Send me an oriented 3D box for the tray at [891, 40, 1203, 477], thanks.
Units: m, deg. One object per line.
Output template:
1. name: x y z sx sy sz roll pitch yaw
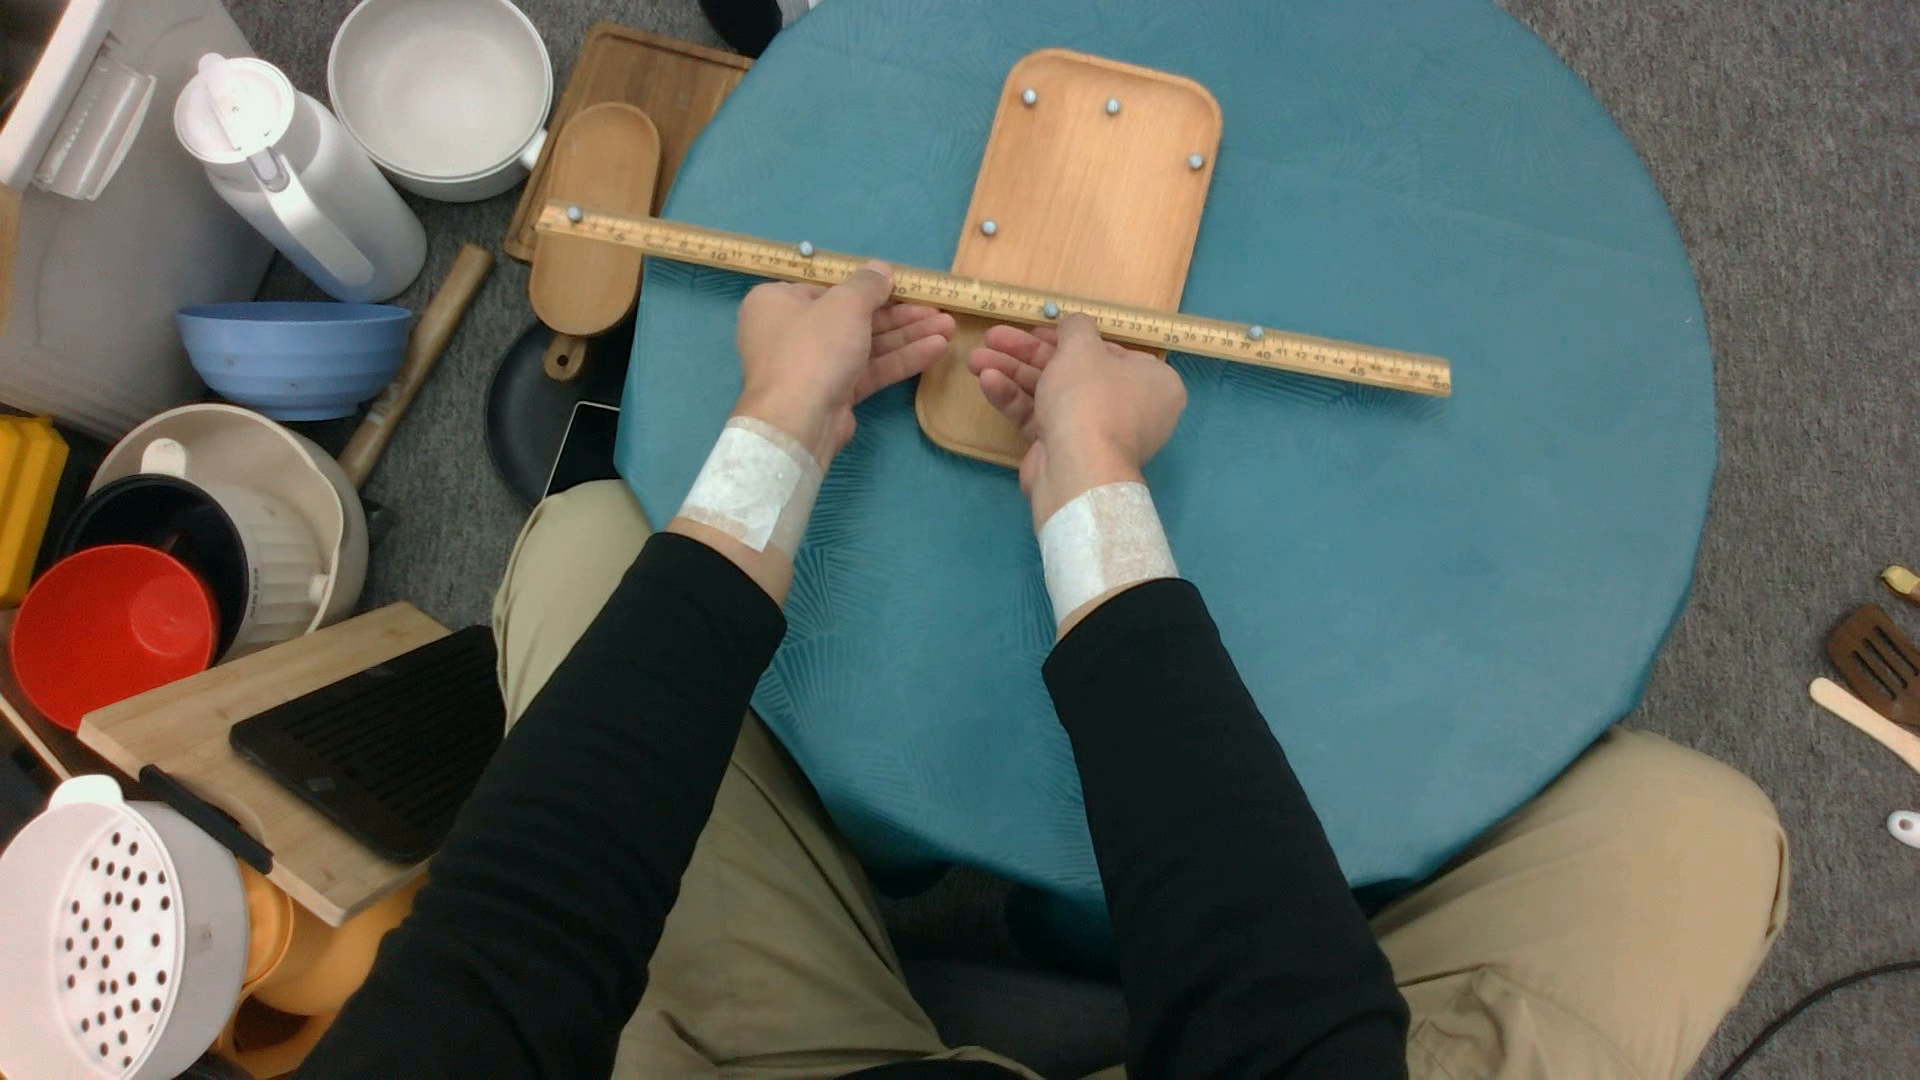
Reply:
1. tray: 0.051 -0.160 0.769 0.130 0.023 0.251 15 77 5

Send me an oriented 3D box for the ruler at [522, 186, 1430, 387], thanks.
1. ruler: 0.007 -0.138 0.748 0.500 0.006 0.027 11 49 2
